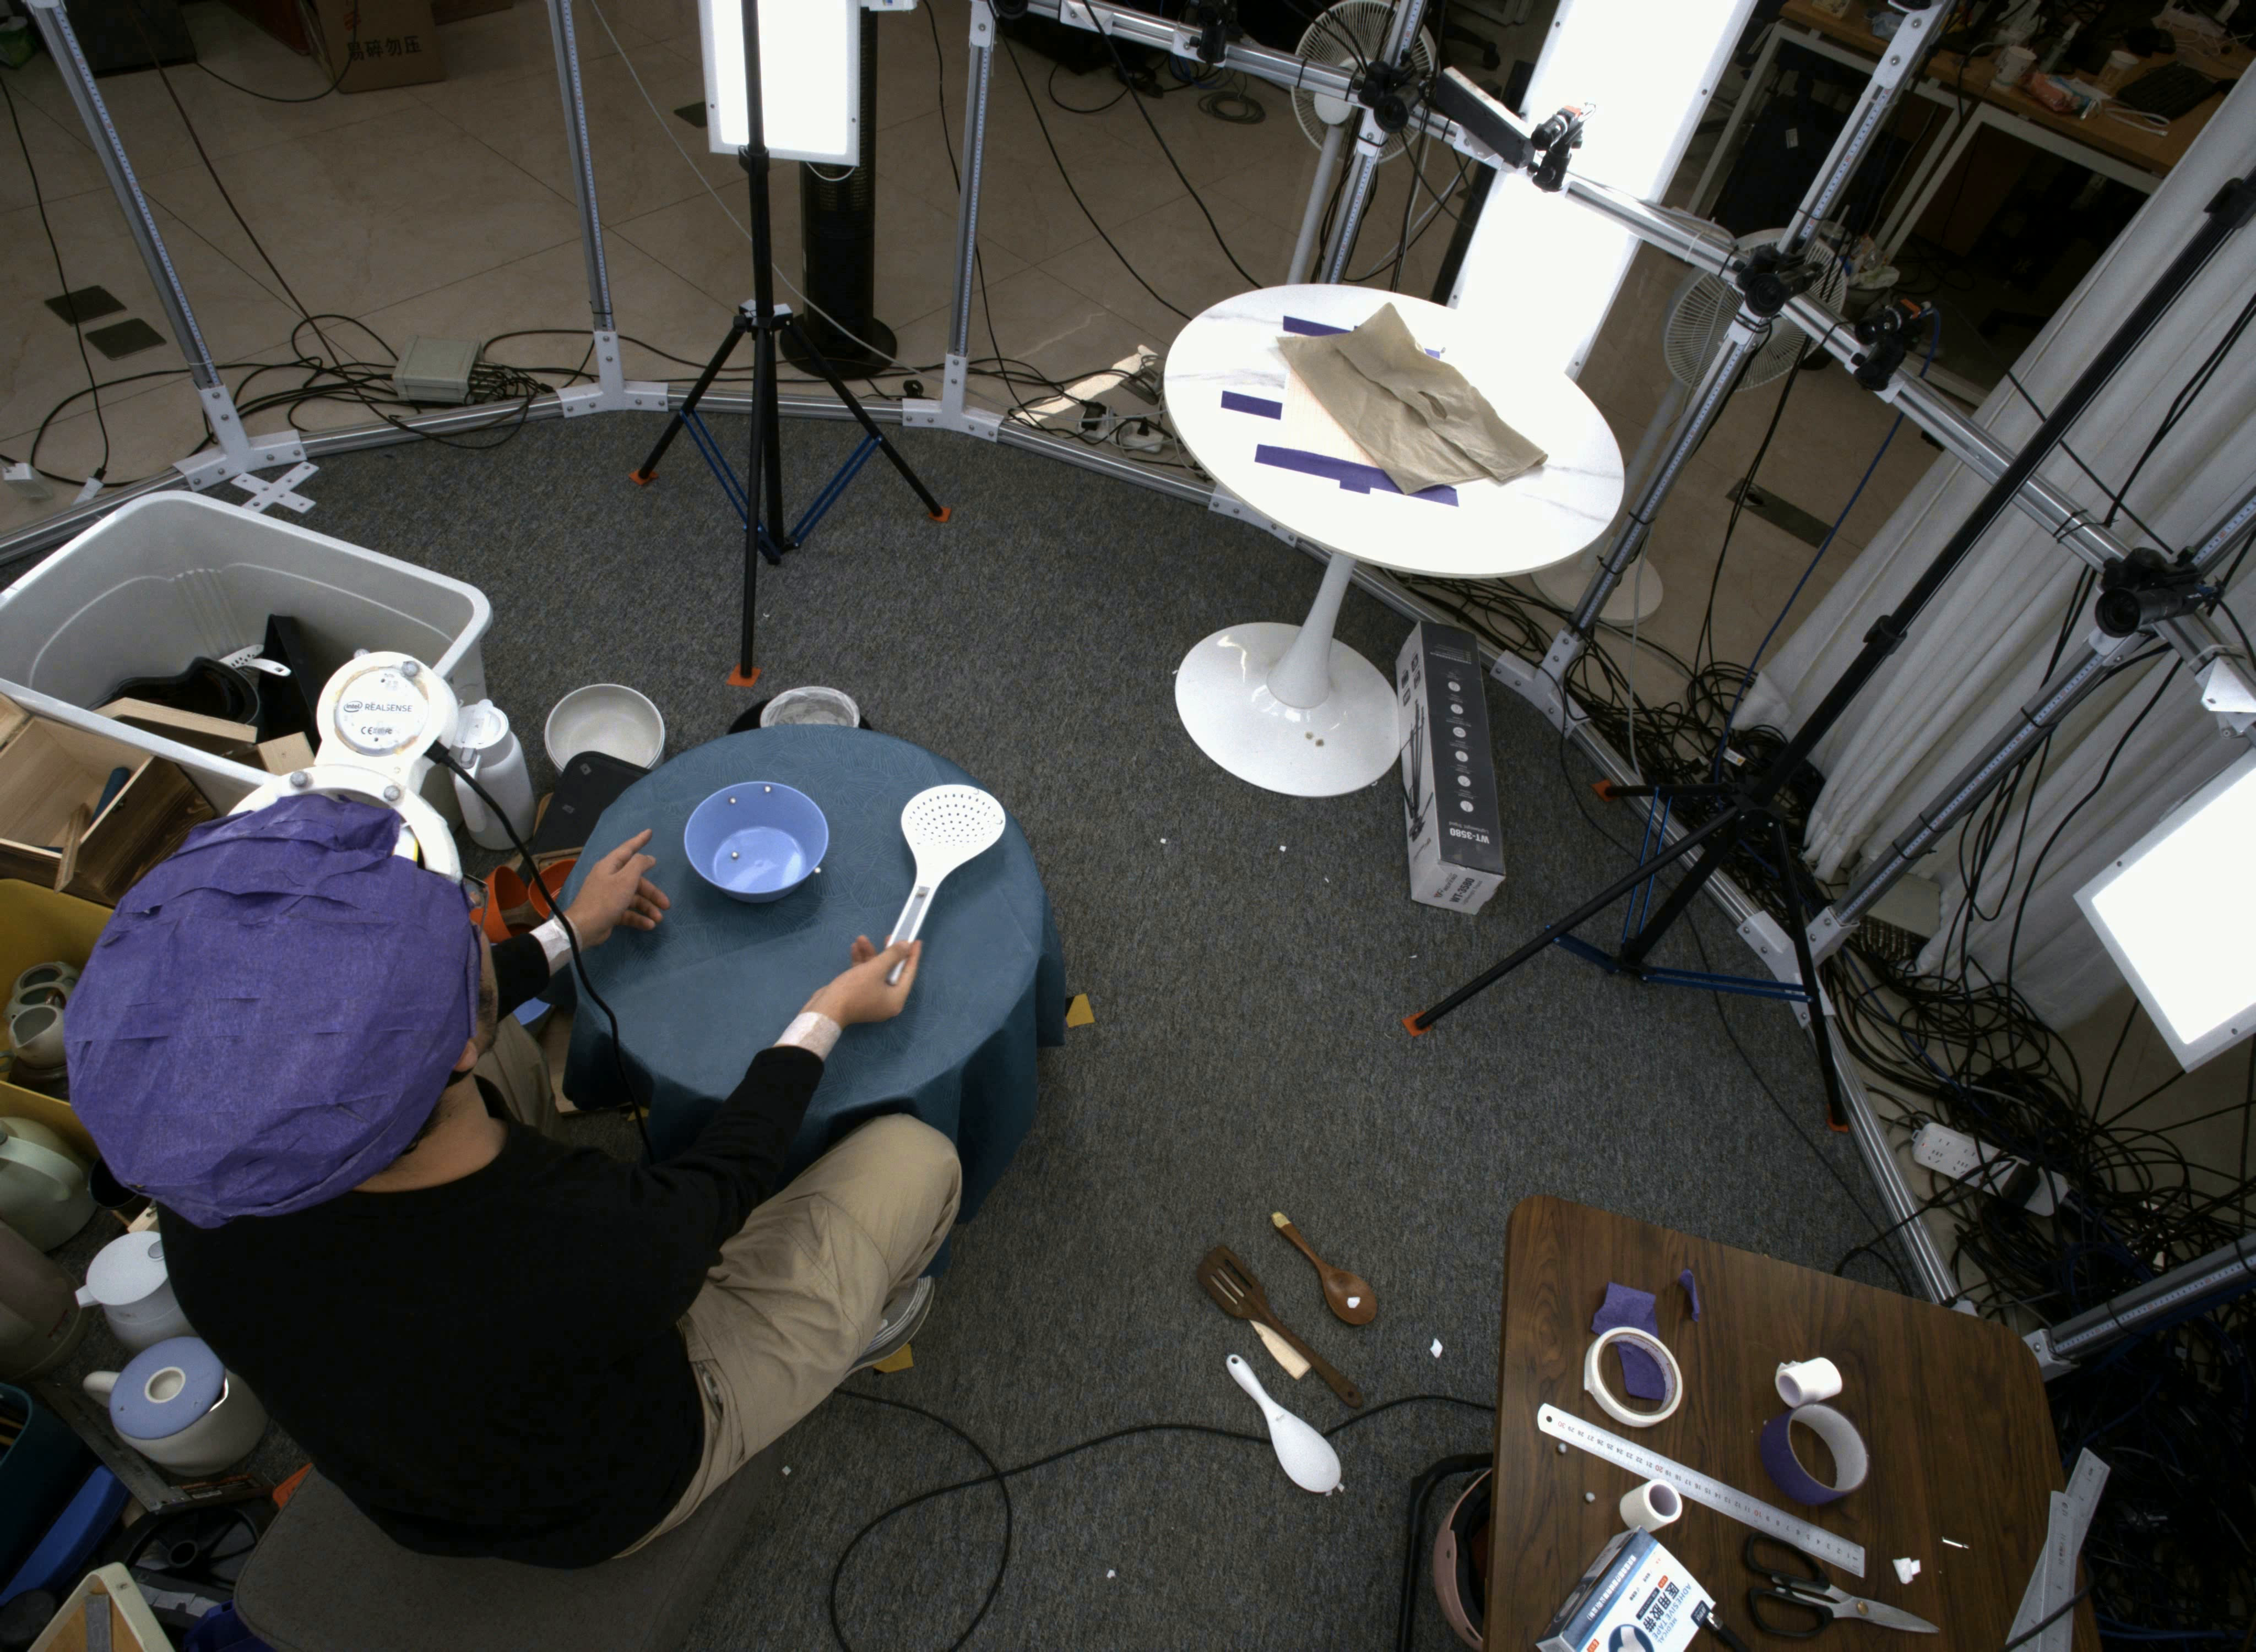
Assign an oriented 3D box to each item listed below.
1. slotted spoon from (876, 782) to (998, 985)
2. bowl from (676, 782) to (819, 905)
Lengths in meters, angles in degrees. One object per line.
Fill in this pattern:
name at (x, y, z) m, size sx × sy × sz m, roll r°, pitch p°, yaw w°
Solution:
slotted spoon at (-0.257, 0.064, 1.653) m, size 0.134 × 0.047 × 0.344 m, roll 12°, pitch 39°, yaw 0°
bowl at (-0.478, 0.032, 1.636) m, size 0.176 × 0.071 × 0.173 m, roll 7°, pitch 53°, yaw -8°
